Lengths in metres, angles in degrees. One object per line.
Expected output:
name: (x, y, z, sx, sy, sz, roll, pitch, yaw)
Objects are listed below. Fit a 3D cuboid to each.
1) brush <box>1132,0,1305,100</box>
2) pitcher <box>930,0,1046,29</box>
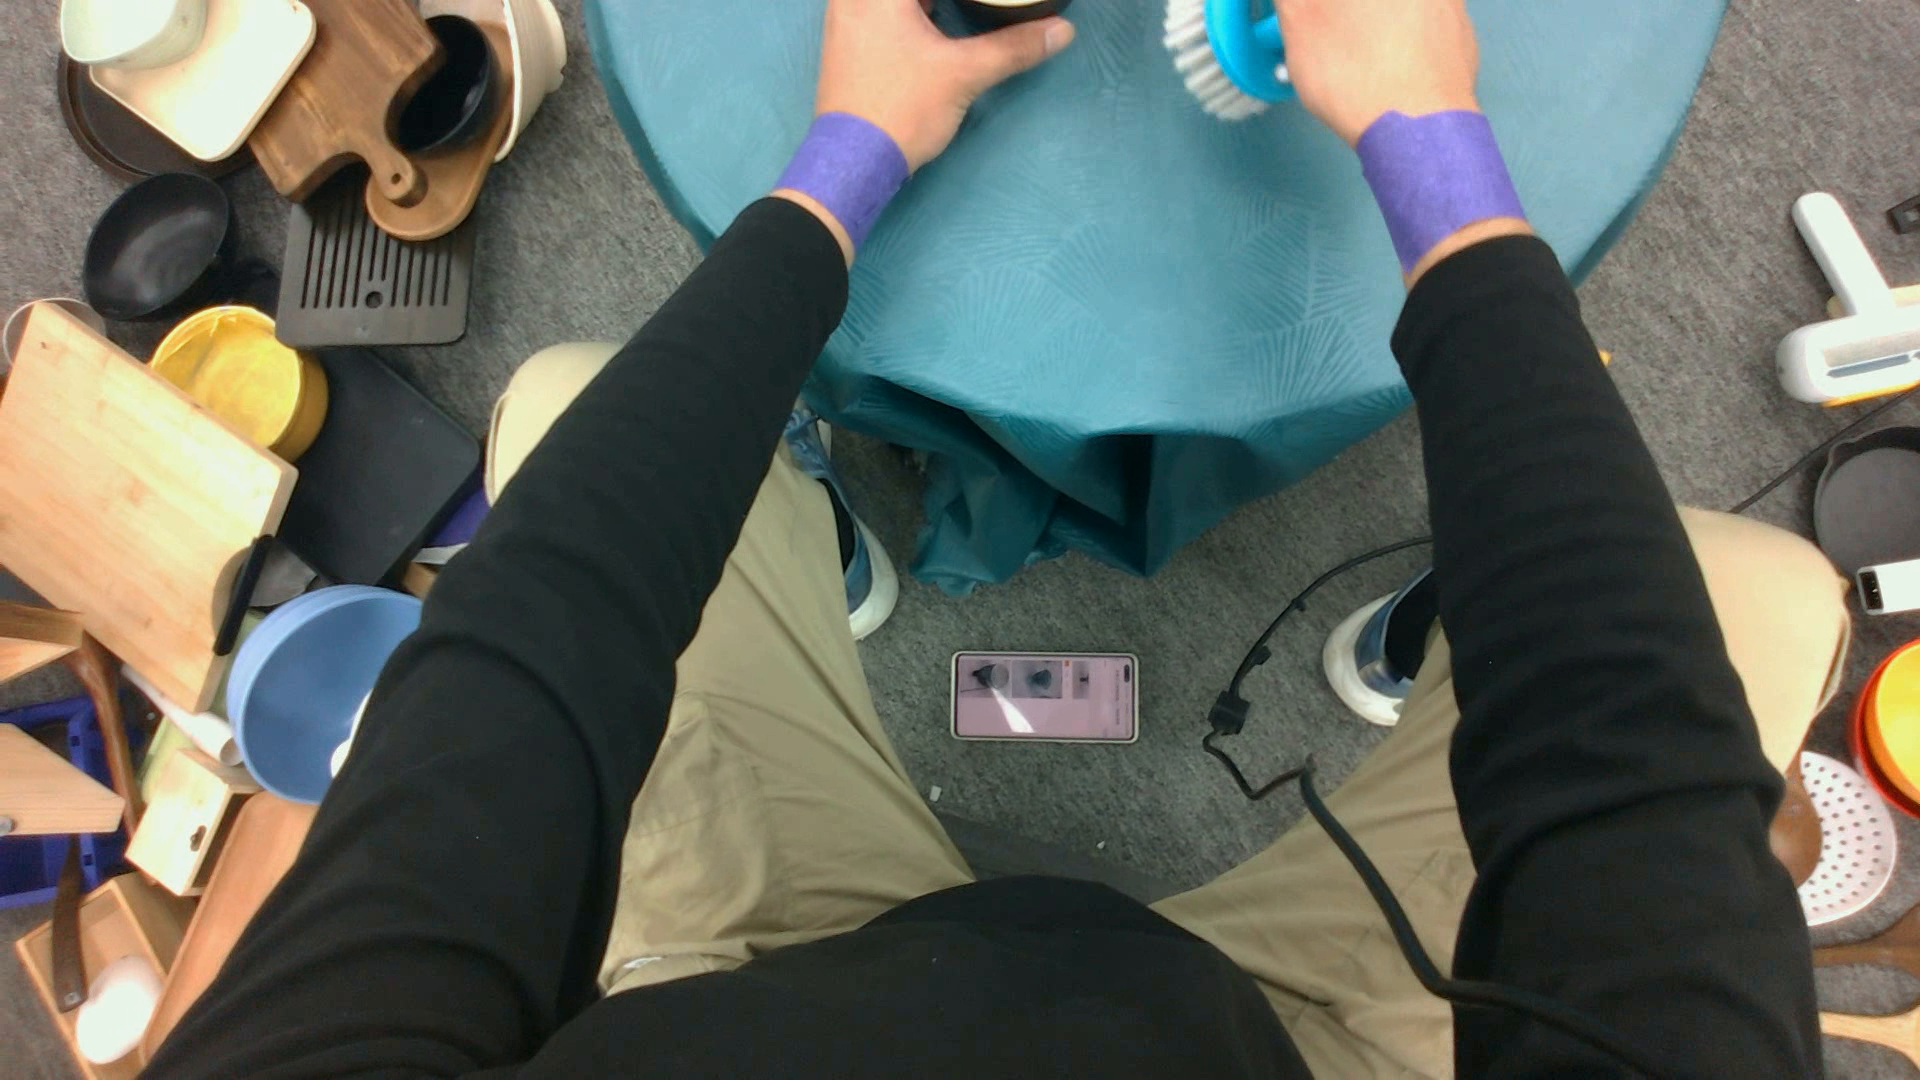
brush: (0.133, -0.275, 0.630, 0.063, 0.084, 0.142, 2, 78, 48)
pitcher: (0.015, -0.300, 0.681, 0.083, 0.071, 0.096, 10, 84, 5)
